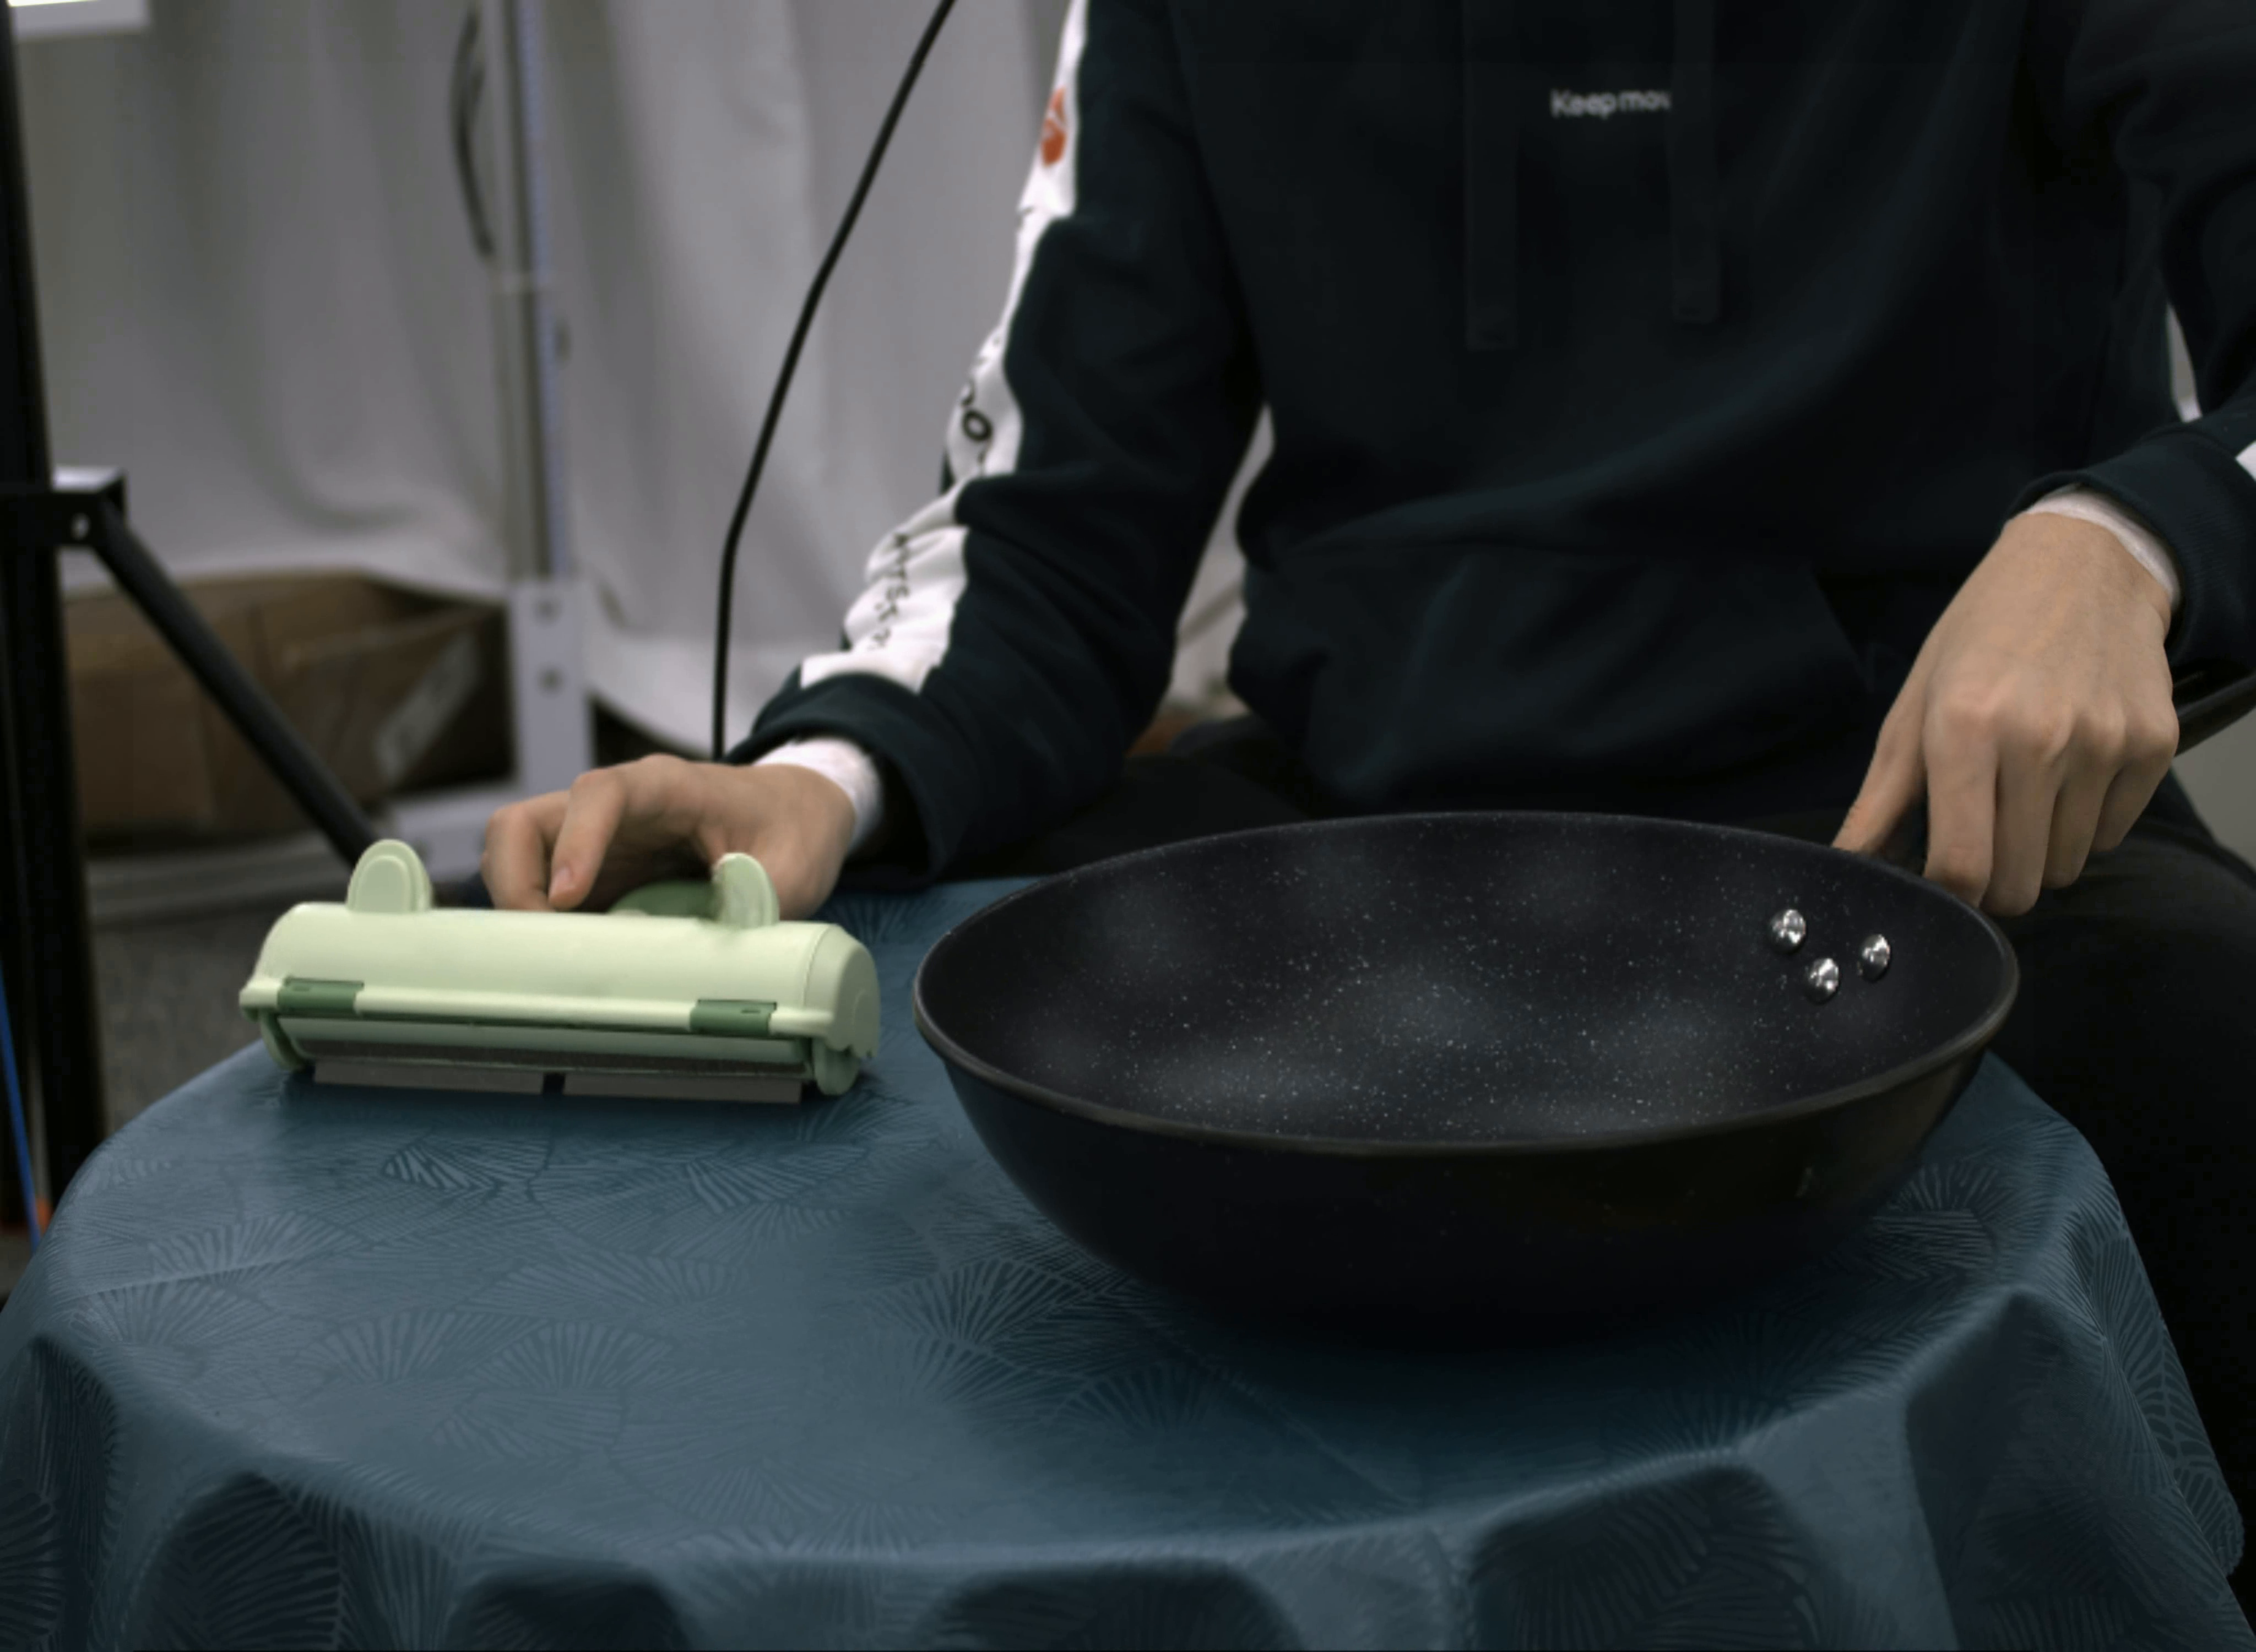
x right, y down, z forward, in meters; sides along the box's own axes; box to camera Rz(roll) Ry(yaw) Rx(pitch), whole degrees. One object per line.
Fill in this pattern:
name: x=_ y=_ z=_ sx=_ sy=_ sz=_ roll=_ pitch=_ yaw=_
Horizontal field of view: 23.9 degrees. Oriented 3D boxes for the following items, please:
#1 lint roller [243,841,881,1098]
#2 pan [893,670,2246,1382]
lint roller: x=-0.164 y=0.028 z=1.727 sx=0.200 sy=0.082 sz=0.182 roll=1 pitch=21 yaw=16
pan: x=0.156 y=0.055 z=1.525 sx=0.466 sy=0.111 sz=0.317 roll=-15 pitch=21 yaw=-34
